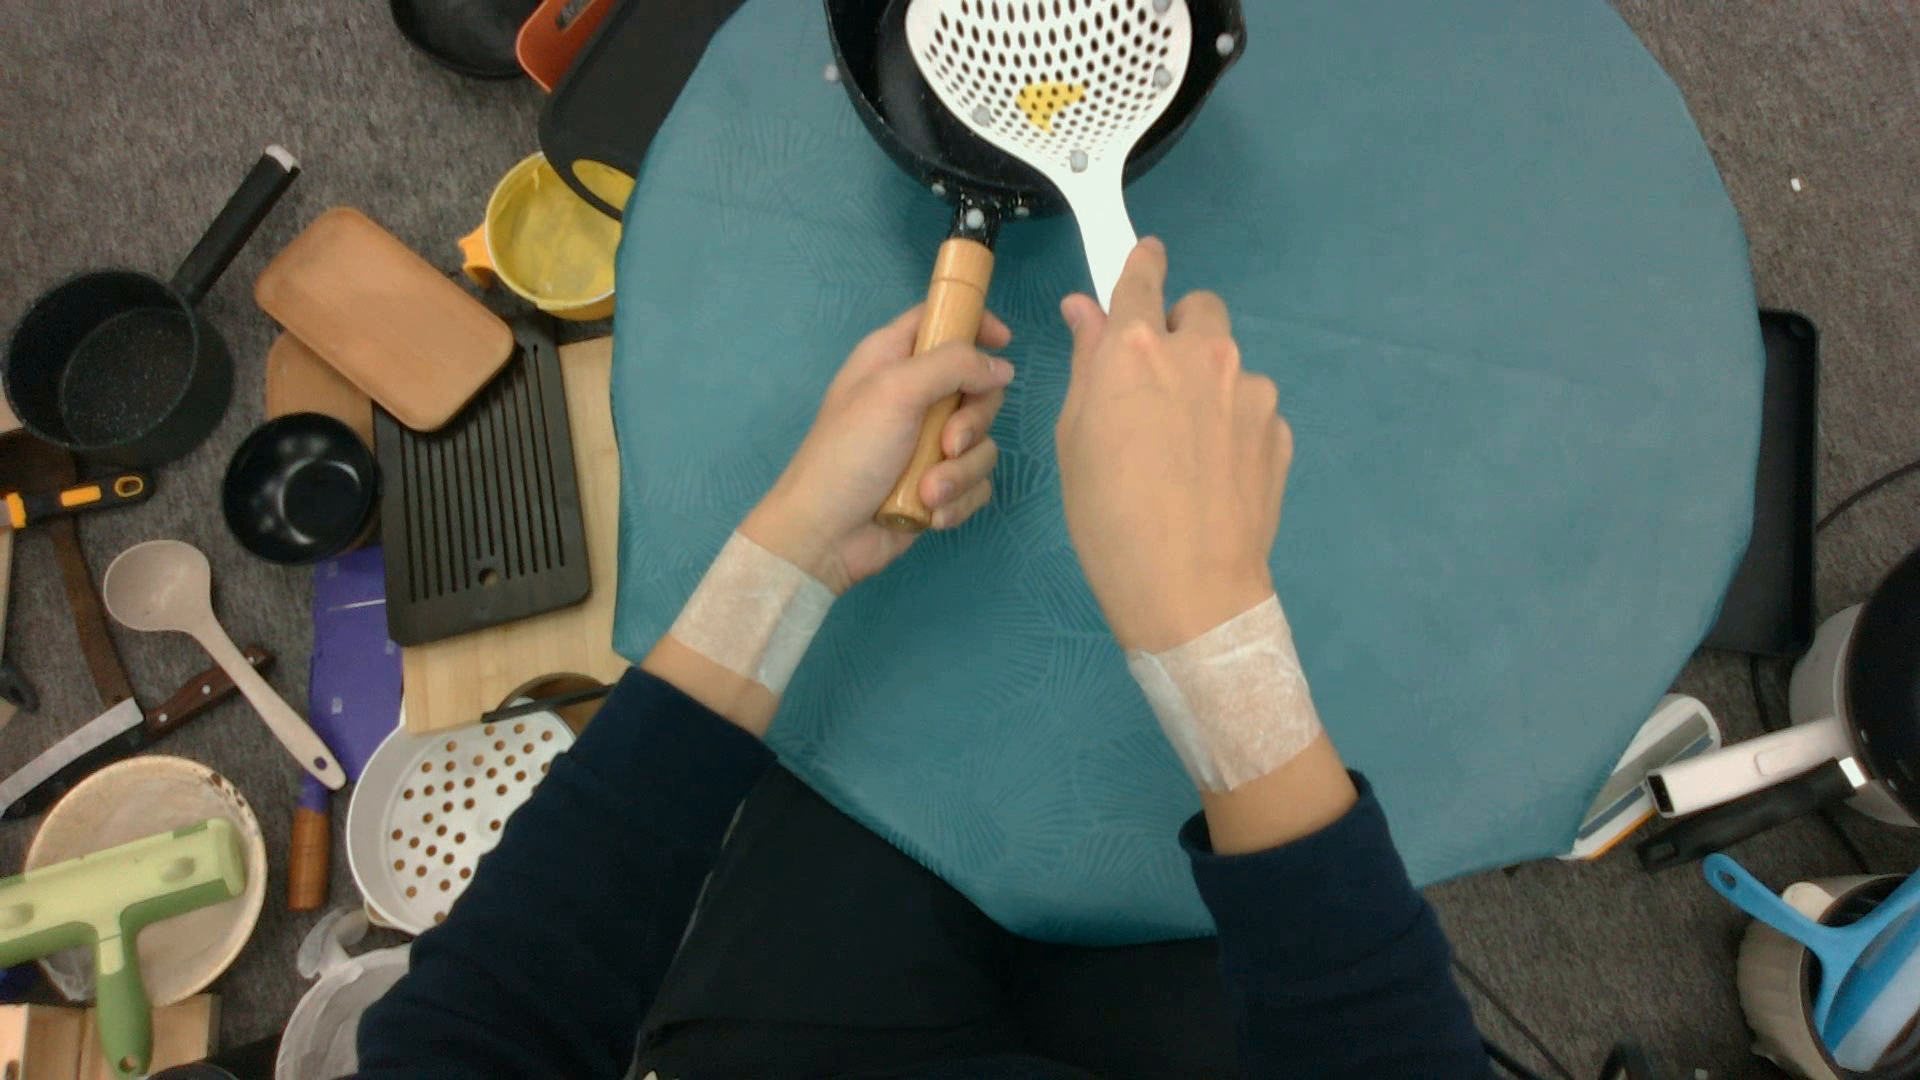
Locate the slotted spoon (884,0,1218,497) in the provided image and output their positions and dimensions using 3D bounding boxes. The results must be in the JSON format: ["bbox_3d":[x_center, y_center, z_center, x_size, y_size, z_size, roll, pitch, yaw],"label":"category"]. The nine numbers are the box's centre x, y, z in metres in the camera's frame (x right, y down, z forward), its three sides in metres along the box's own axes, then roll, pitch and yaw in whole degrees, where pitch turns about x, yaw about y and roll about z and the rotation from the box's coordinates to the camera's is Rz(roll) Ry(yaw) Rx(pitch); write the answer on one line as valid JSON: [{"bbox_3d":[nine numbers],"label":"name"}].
[{"bbox_3d":[0.050,-0.154,0.600,0.137,0.050,0.349,-8,46,-6],"label":"slotted spoon"}]

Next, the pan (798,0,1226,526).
[{"bbox_3d":[0.005,-0.166,0.645,0.207,0.108,0.343,13,82,-4],"label":"pan"}]
